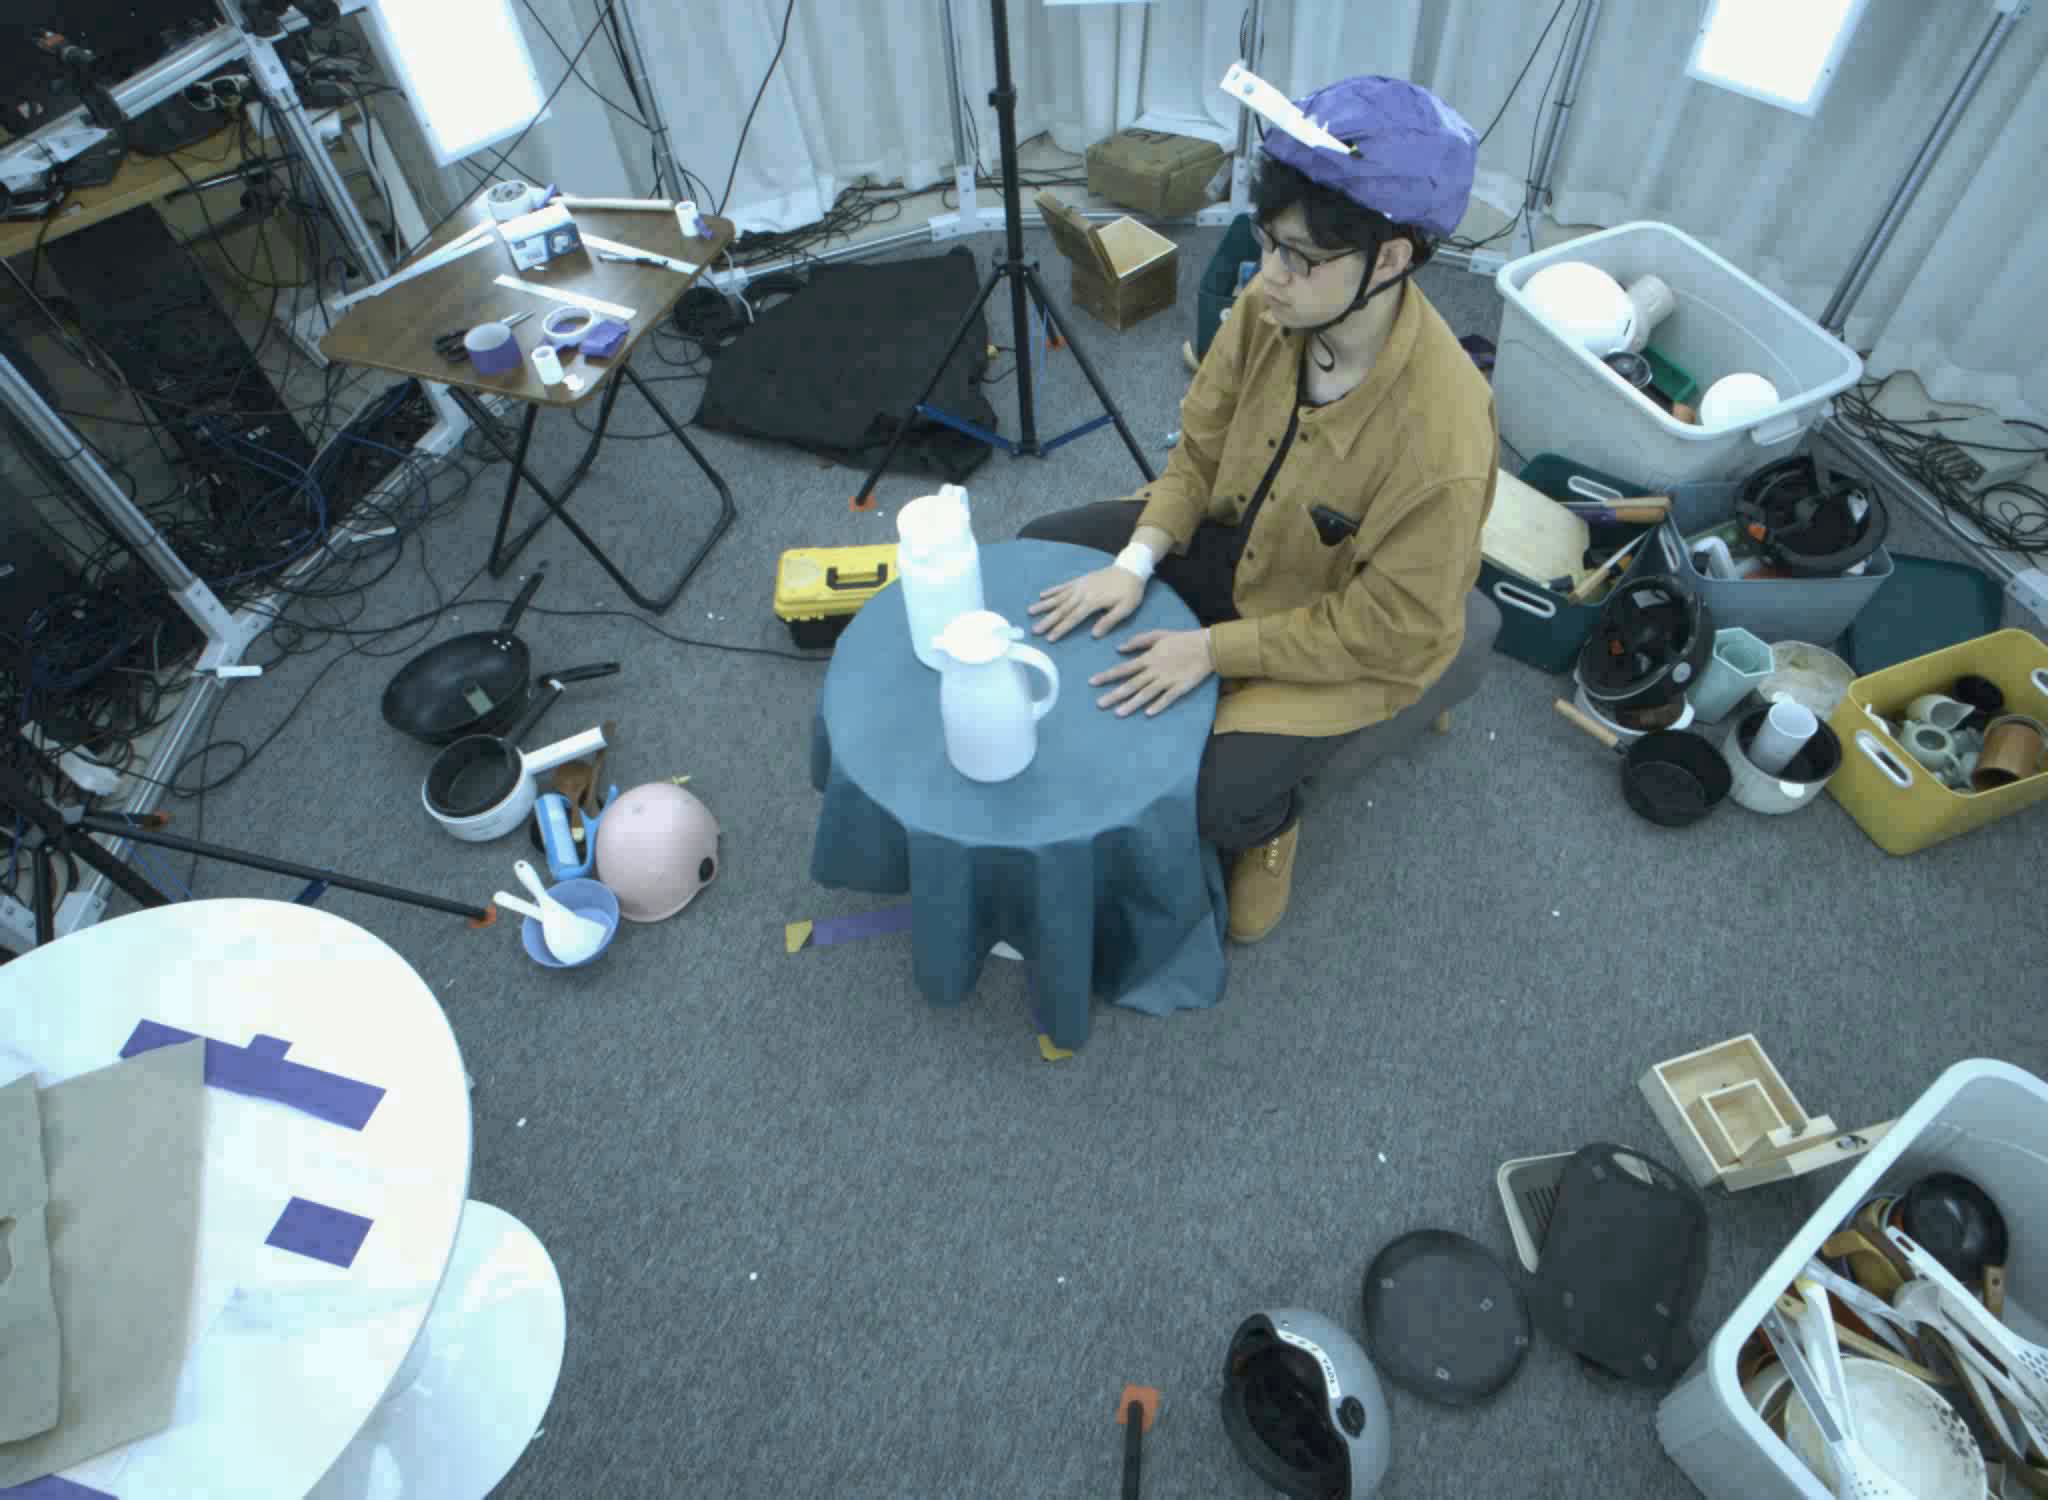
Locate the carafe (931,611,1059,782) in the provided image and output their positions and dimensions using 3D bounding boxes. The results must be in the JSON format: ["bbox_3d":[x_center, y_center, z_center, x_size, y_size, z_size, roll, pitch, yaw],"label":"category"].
[{"bbox_3d":[-0.035,-0.079,1.687,0.167,0.251,0.131,2,54,4],"label":"carafe"}]

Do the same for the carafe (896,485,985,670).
[{"bbox_3d":[-0.119,-0.256,1.805,0.123,0.272,0.172,9,55,12],"label":"carafe"}]
